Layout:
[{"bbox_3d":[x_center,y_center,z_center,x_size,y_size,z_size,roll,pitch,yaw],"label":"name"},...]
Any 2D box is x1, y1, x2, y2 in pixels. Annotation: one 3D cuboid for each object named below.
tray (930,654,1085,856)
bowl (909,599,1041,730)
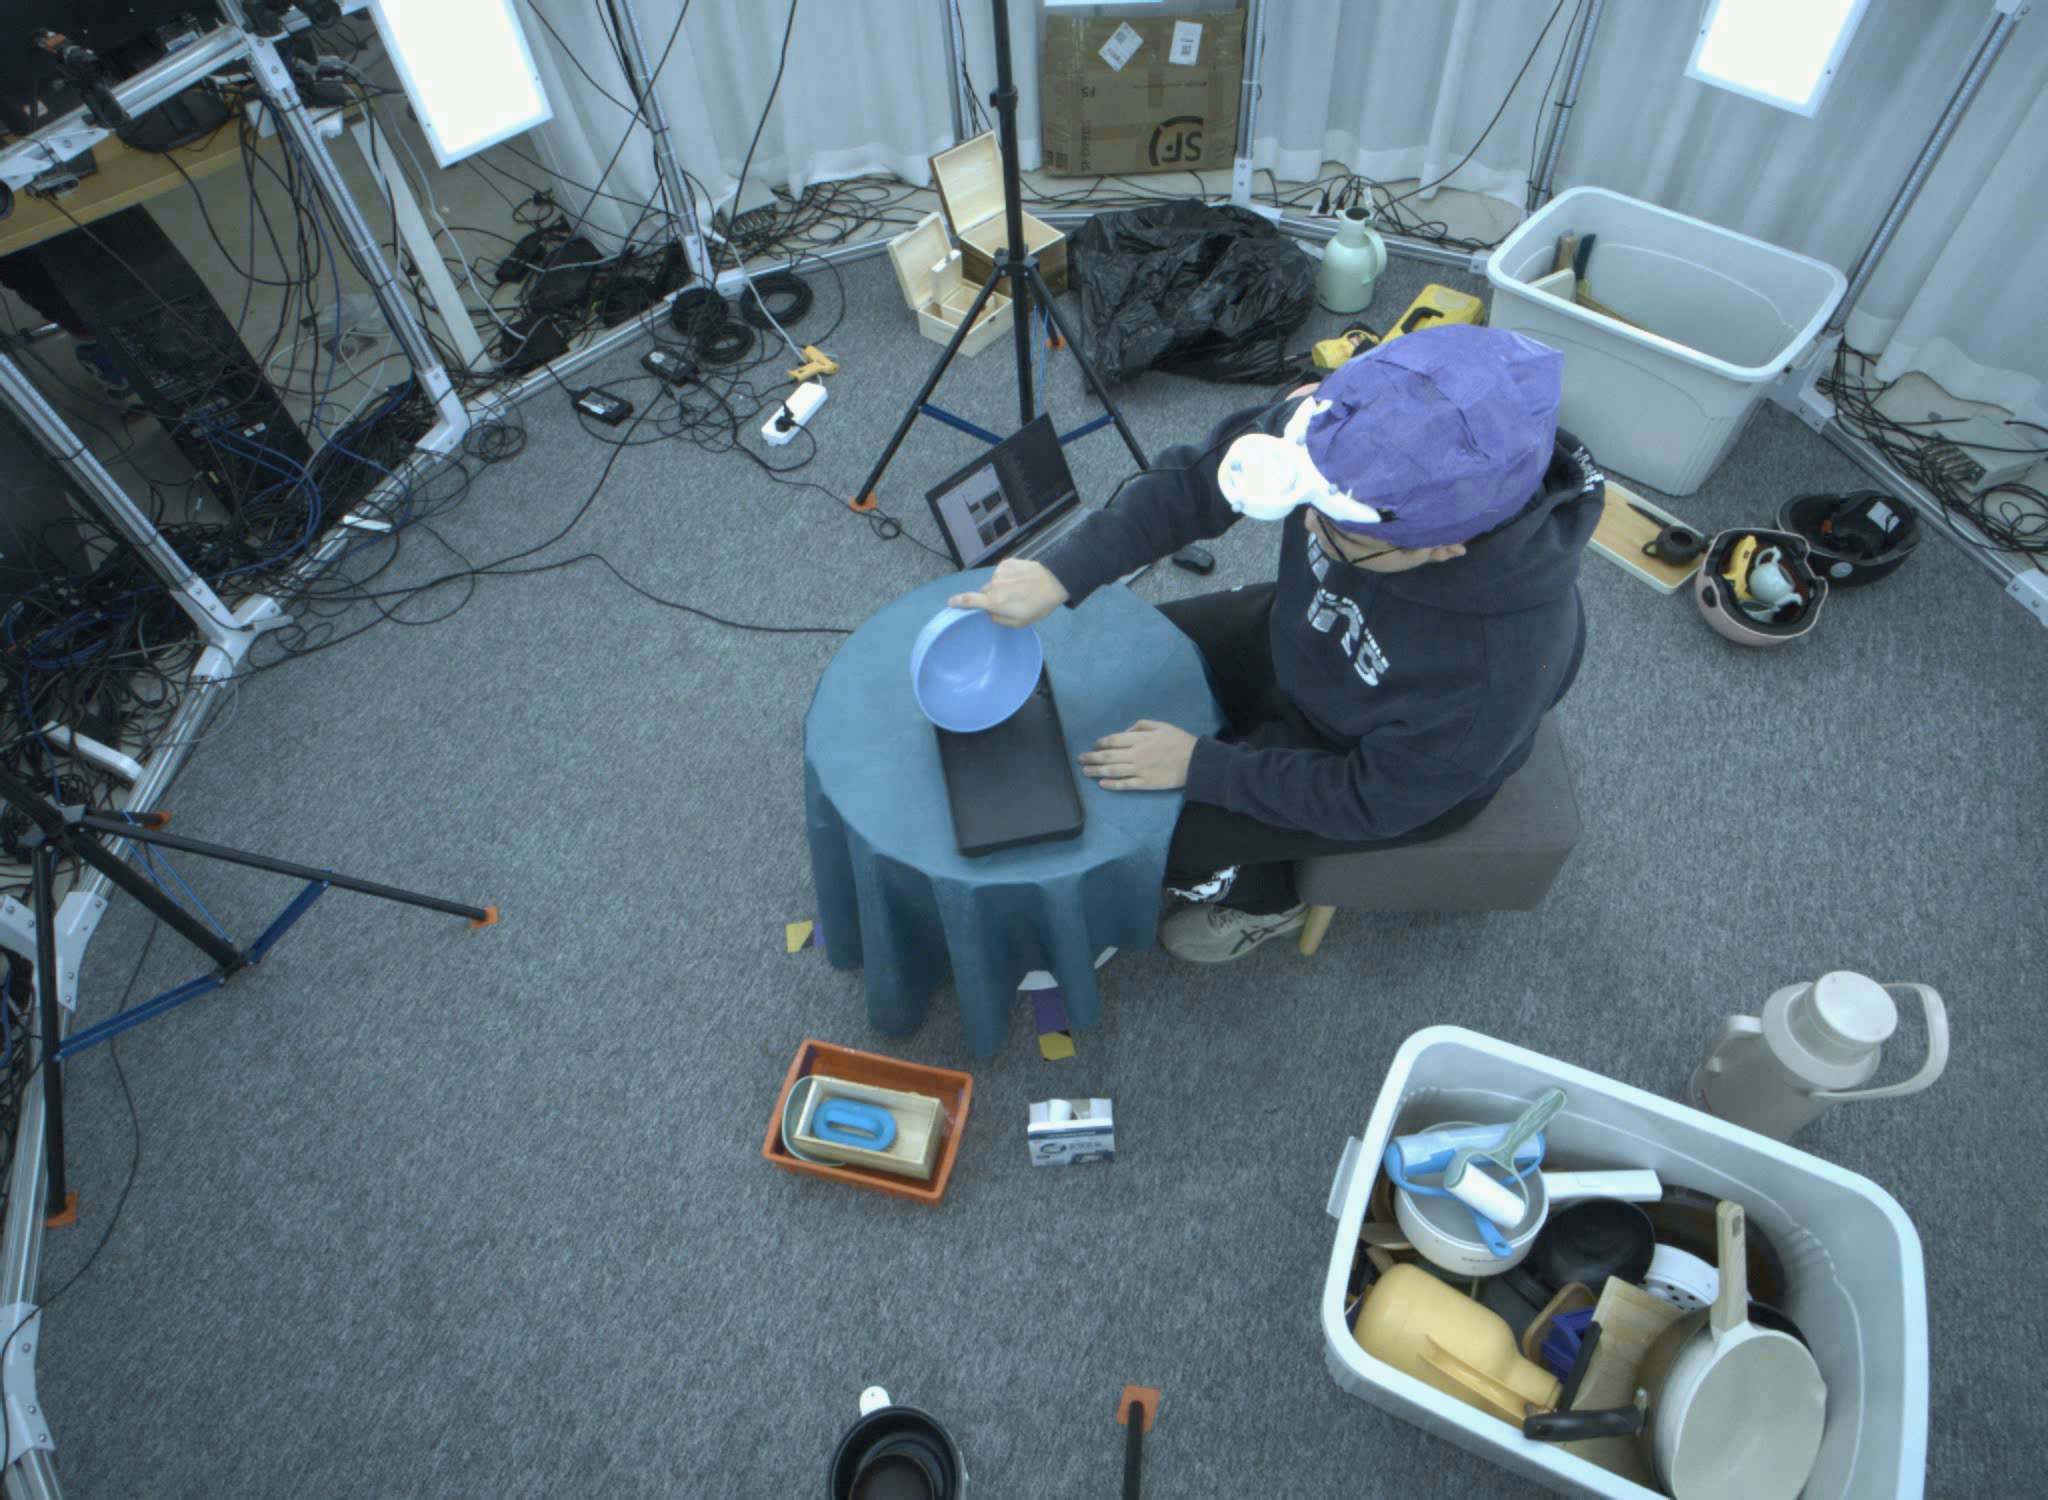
[{"bbox_3d":[-0.032,0.000,1.765,0.185,0.037,0.313,-10,56,-6],"label":"tray"},{"bbox_3d":[-0.083,-0.136,1.750,0.198,0.199,0.093,-25,41,-14],"label":"bowl"}]
